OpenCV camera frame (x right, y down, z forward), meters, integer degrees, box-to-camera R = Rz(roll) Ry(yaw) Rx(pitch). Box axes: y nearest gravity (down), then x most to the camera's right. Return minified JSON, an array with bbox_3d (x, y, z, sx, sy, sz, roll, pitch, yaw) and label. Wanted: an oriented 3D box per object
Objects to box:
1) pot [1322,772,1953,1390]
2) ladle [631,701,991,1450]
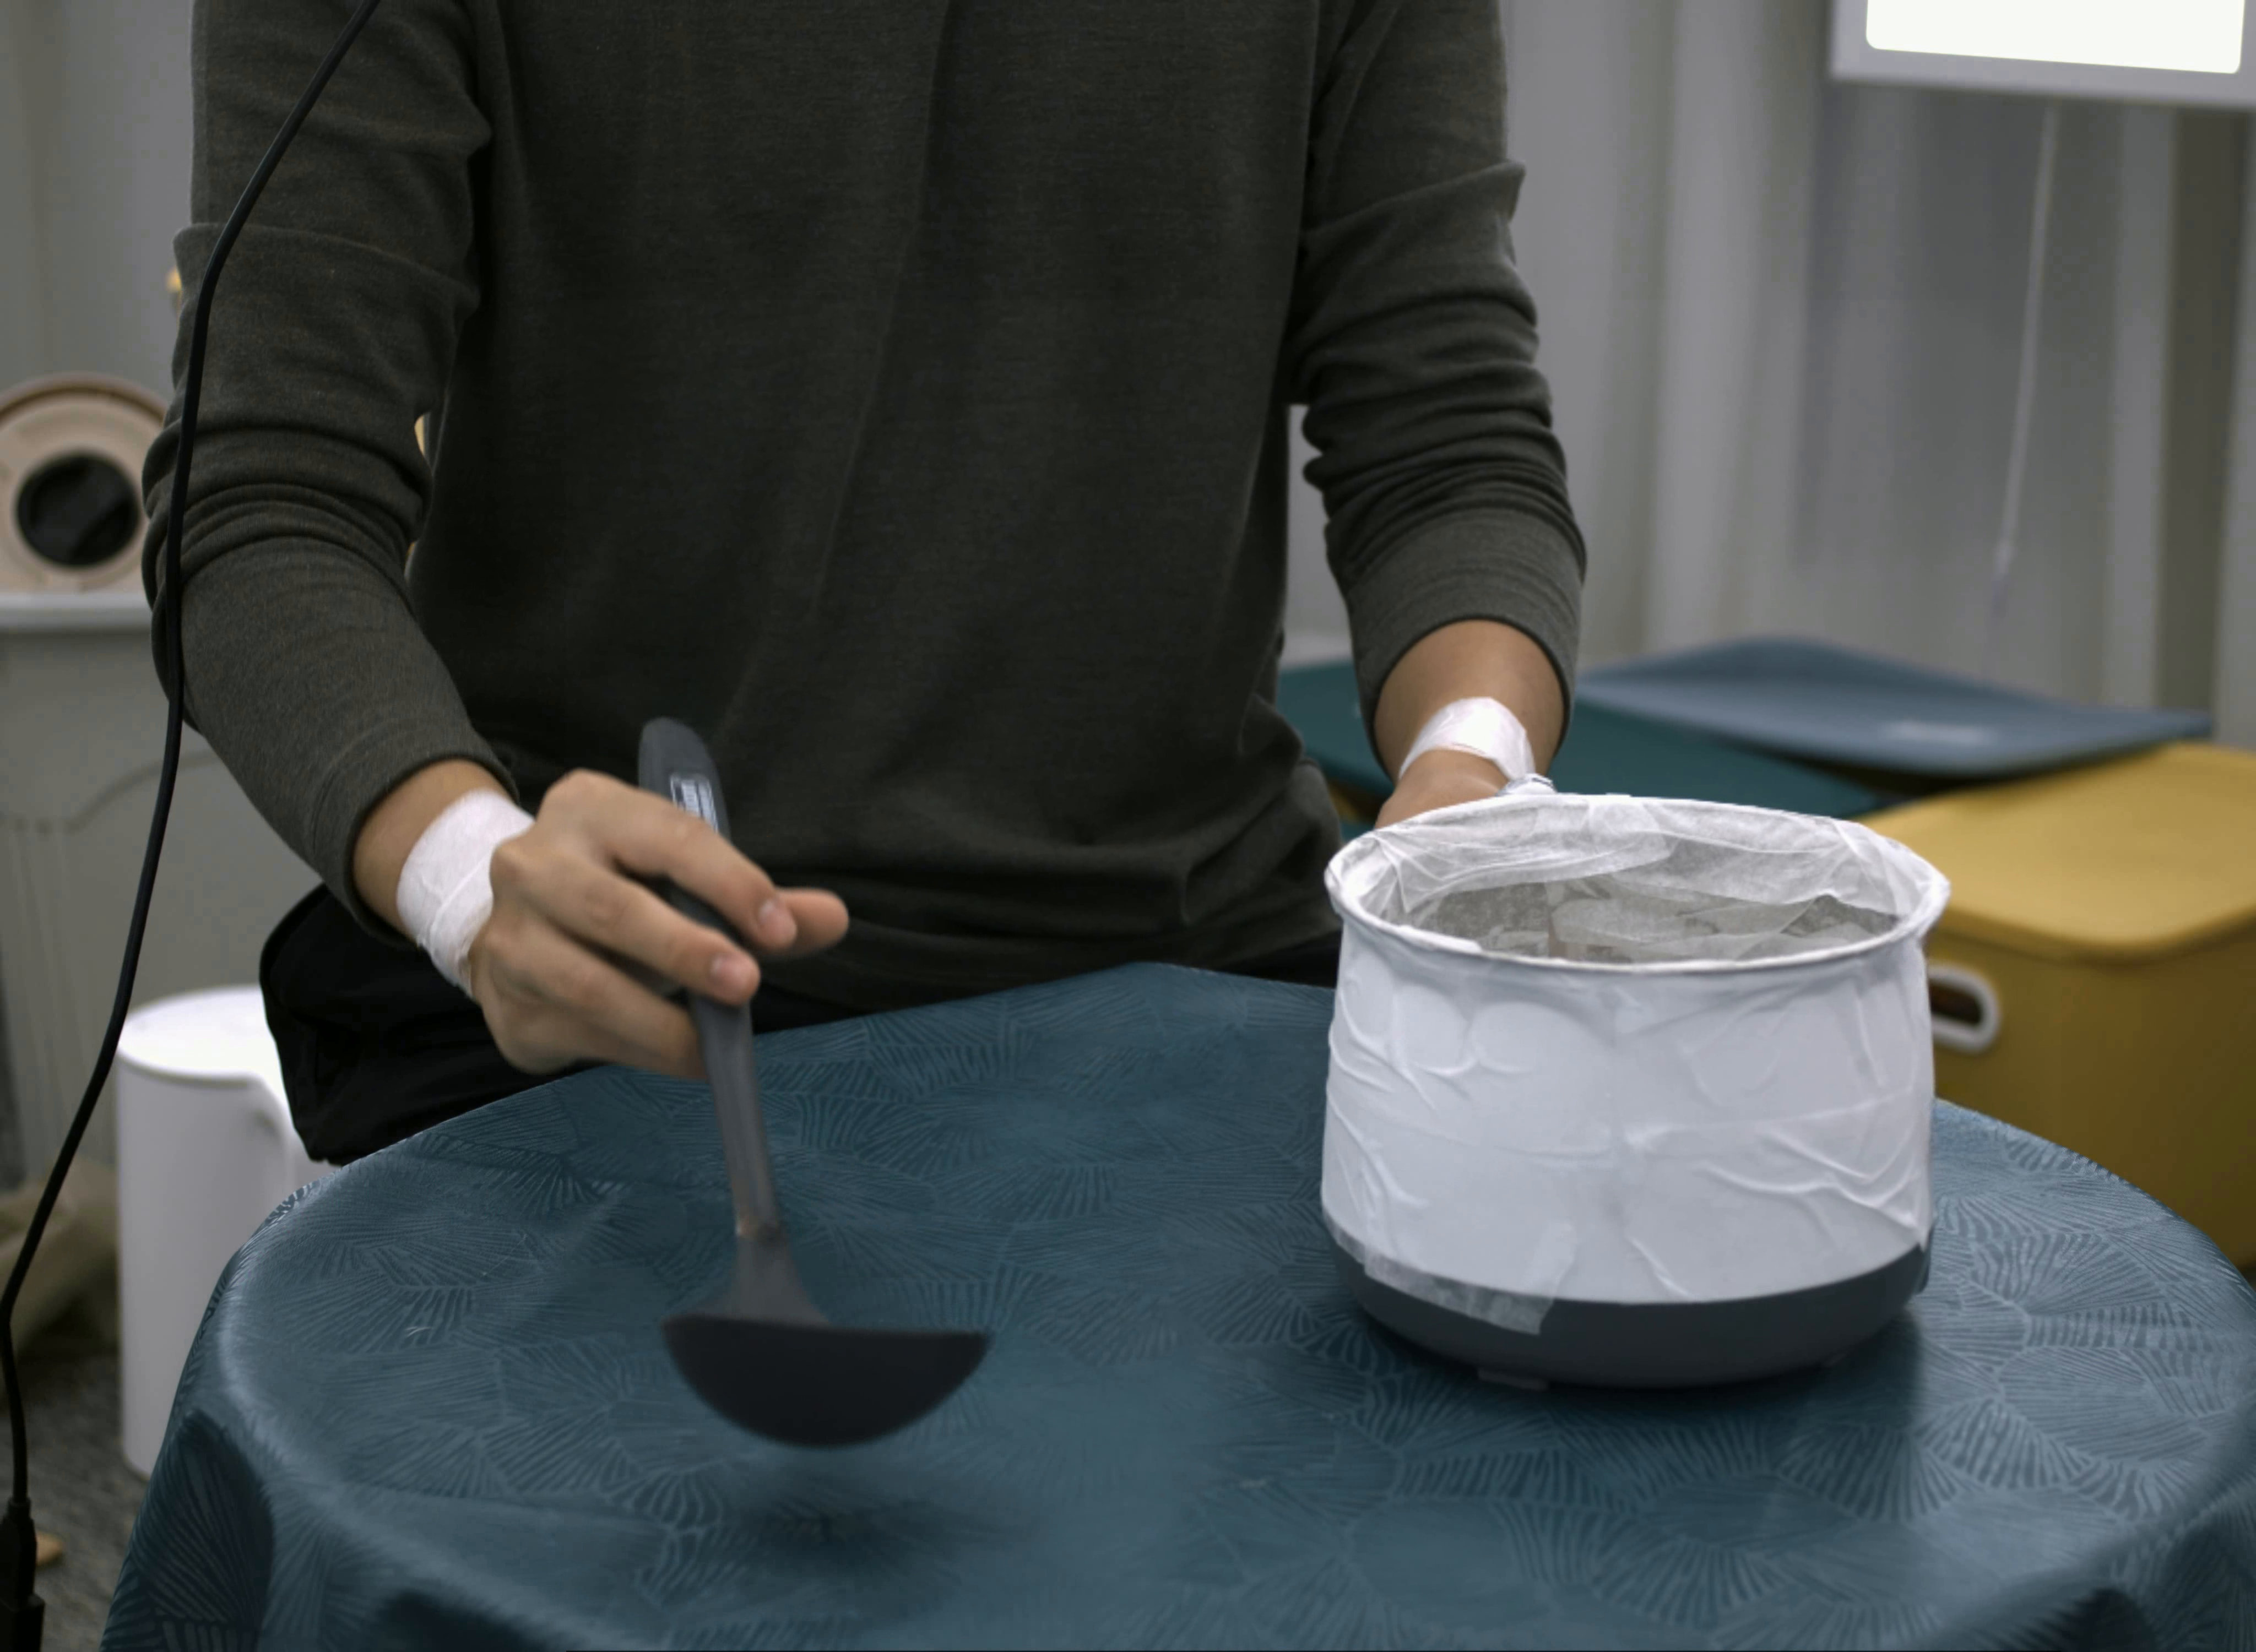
[{"bbox_3d":[0.137,0.068,1.532,0.179,0.138,0.231,-3,16,-14],"label":"pot"},{"bbox_3d":[-0.104,0.050,1.440,0.086,0.064,0.310,9,38,-22],"label":"ladle"}]
